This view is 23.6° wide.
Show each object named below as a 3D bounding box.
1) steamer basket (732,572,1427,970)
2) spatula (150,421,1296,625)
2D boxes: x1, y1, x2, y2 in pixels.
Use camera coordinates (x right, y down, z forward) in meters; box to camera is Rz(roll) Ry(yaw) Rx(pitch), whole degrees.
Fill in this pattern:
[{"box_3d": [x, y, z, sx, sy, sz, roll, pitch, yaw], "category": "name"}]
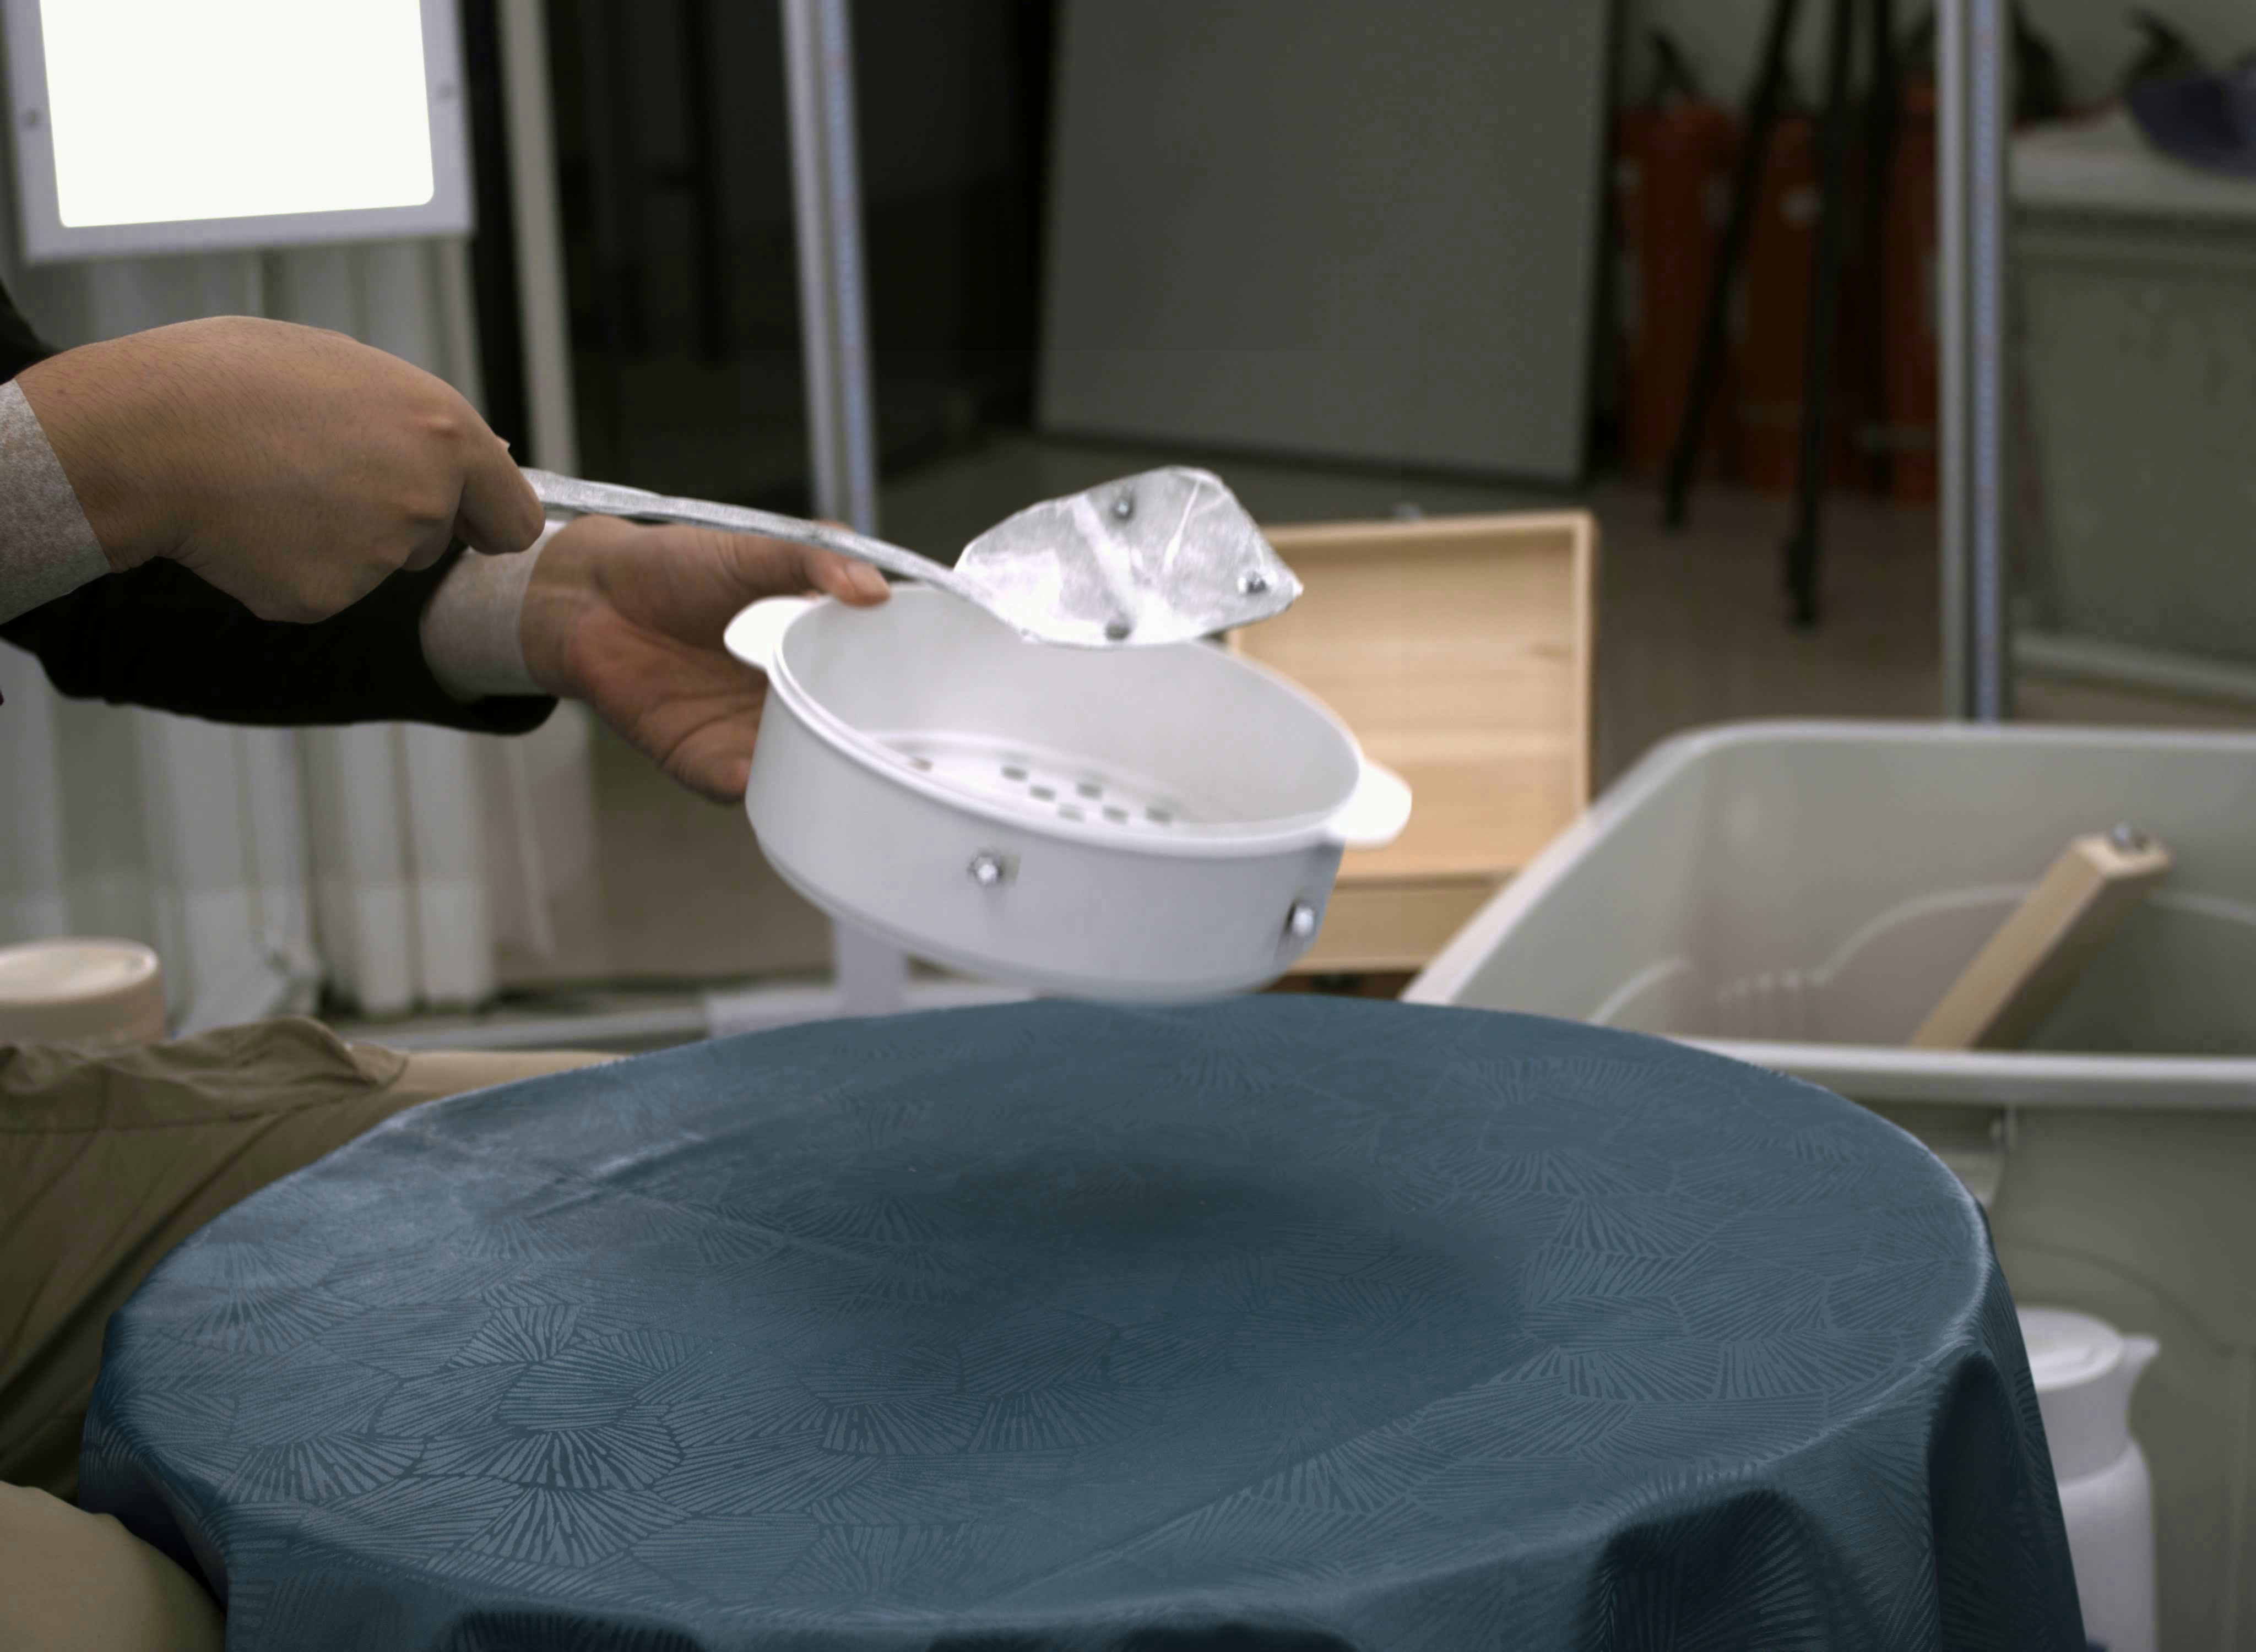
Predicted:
[{"box_3d": [-0.020, -0.018, 1.740, 0.229, 0.070, 0.200, 14, 20, 10], "category": "steamer basket"}, {"box_3d": [-0.118, -0.104, 1.659, 0.356, 0.045, 0.100, 7, 31, -26], "category": "spatula"}]
